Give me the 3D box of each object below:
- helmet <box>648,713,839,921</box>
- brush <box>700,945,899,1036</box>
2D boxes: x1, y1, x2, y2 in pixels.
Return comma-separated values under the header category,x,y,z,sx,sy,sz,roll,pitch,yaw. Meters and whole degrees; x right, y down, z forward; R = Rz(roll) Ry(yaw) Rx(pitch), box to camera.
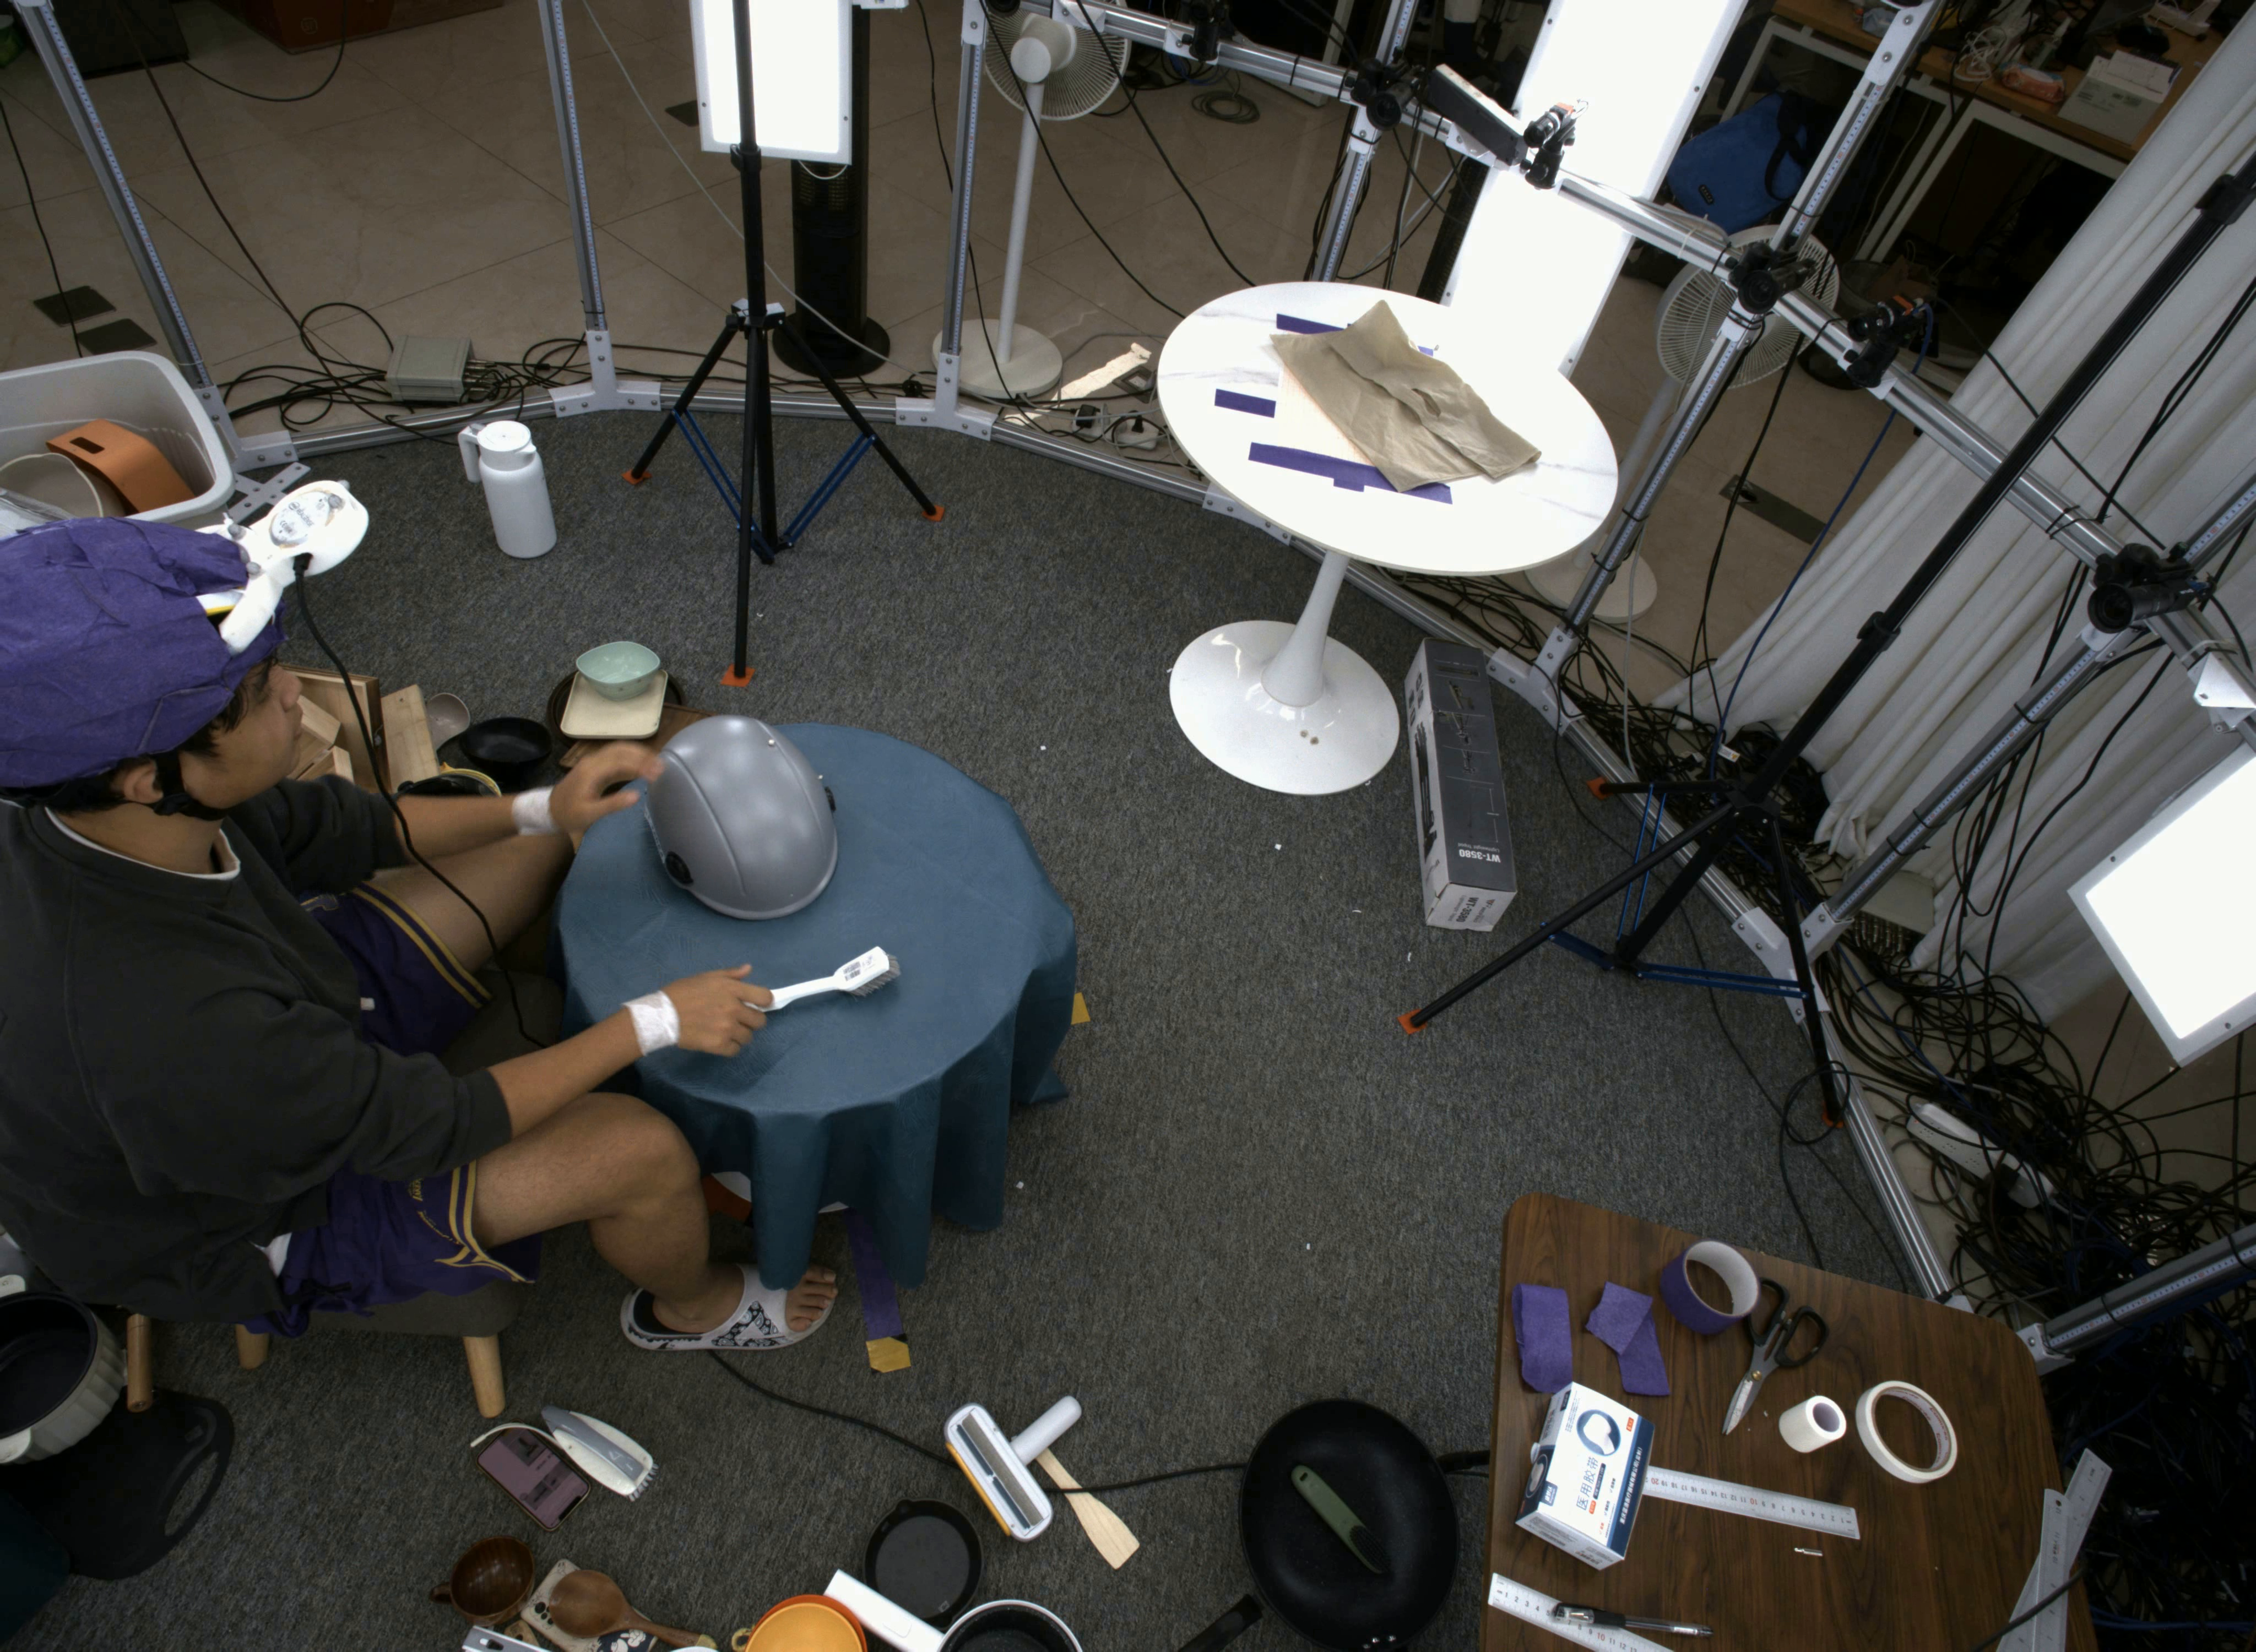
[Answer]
category,x,y,z,sx,sy,sz,roll,pitch,yaw
helmet,-0.488,-0.035,1.633,0.233,0.172,0.270,-29,67,-30
brush,-0.395,0.206,1.568,0.243,0.052,0.033,-22,56,-12
